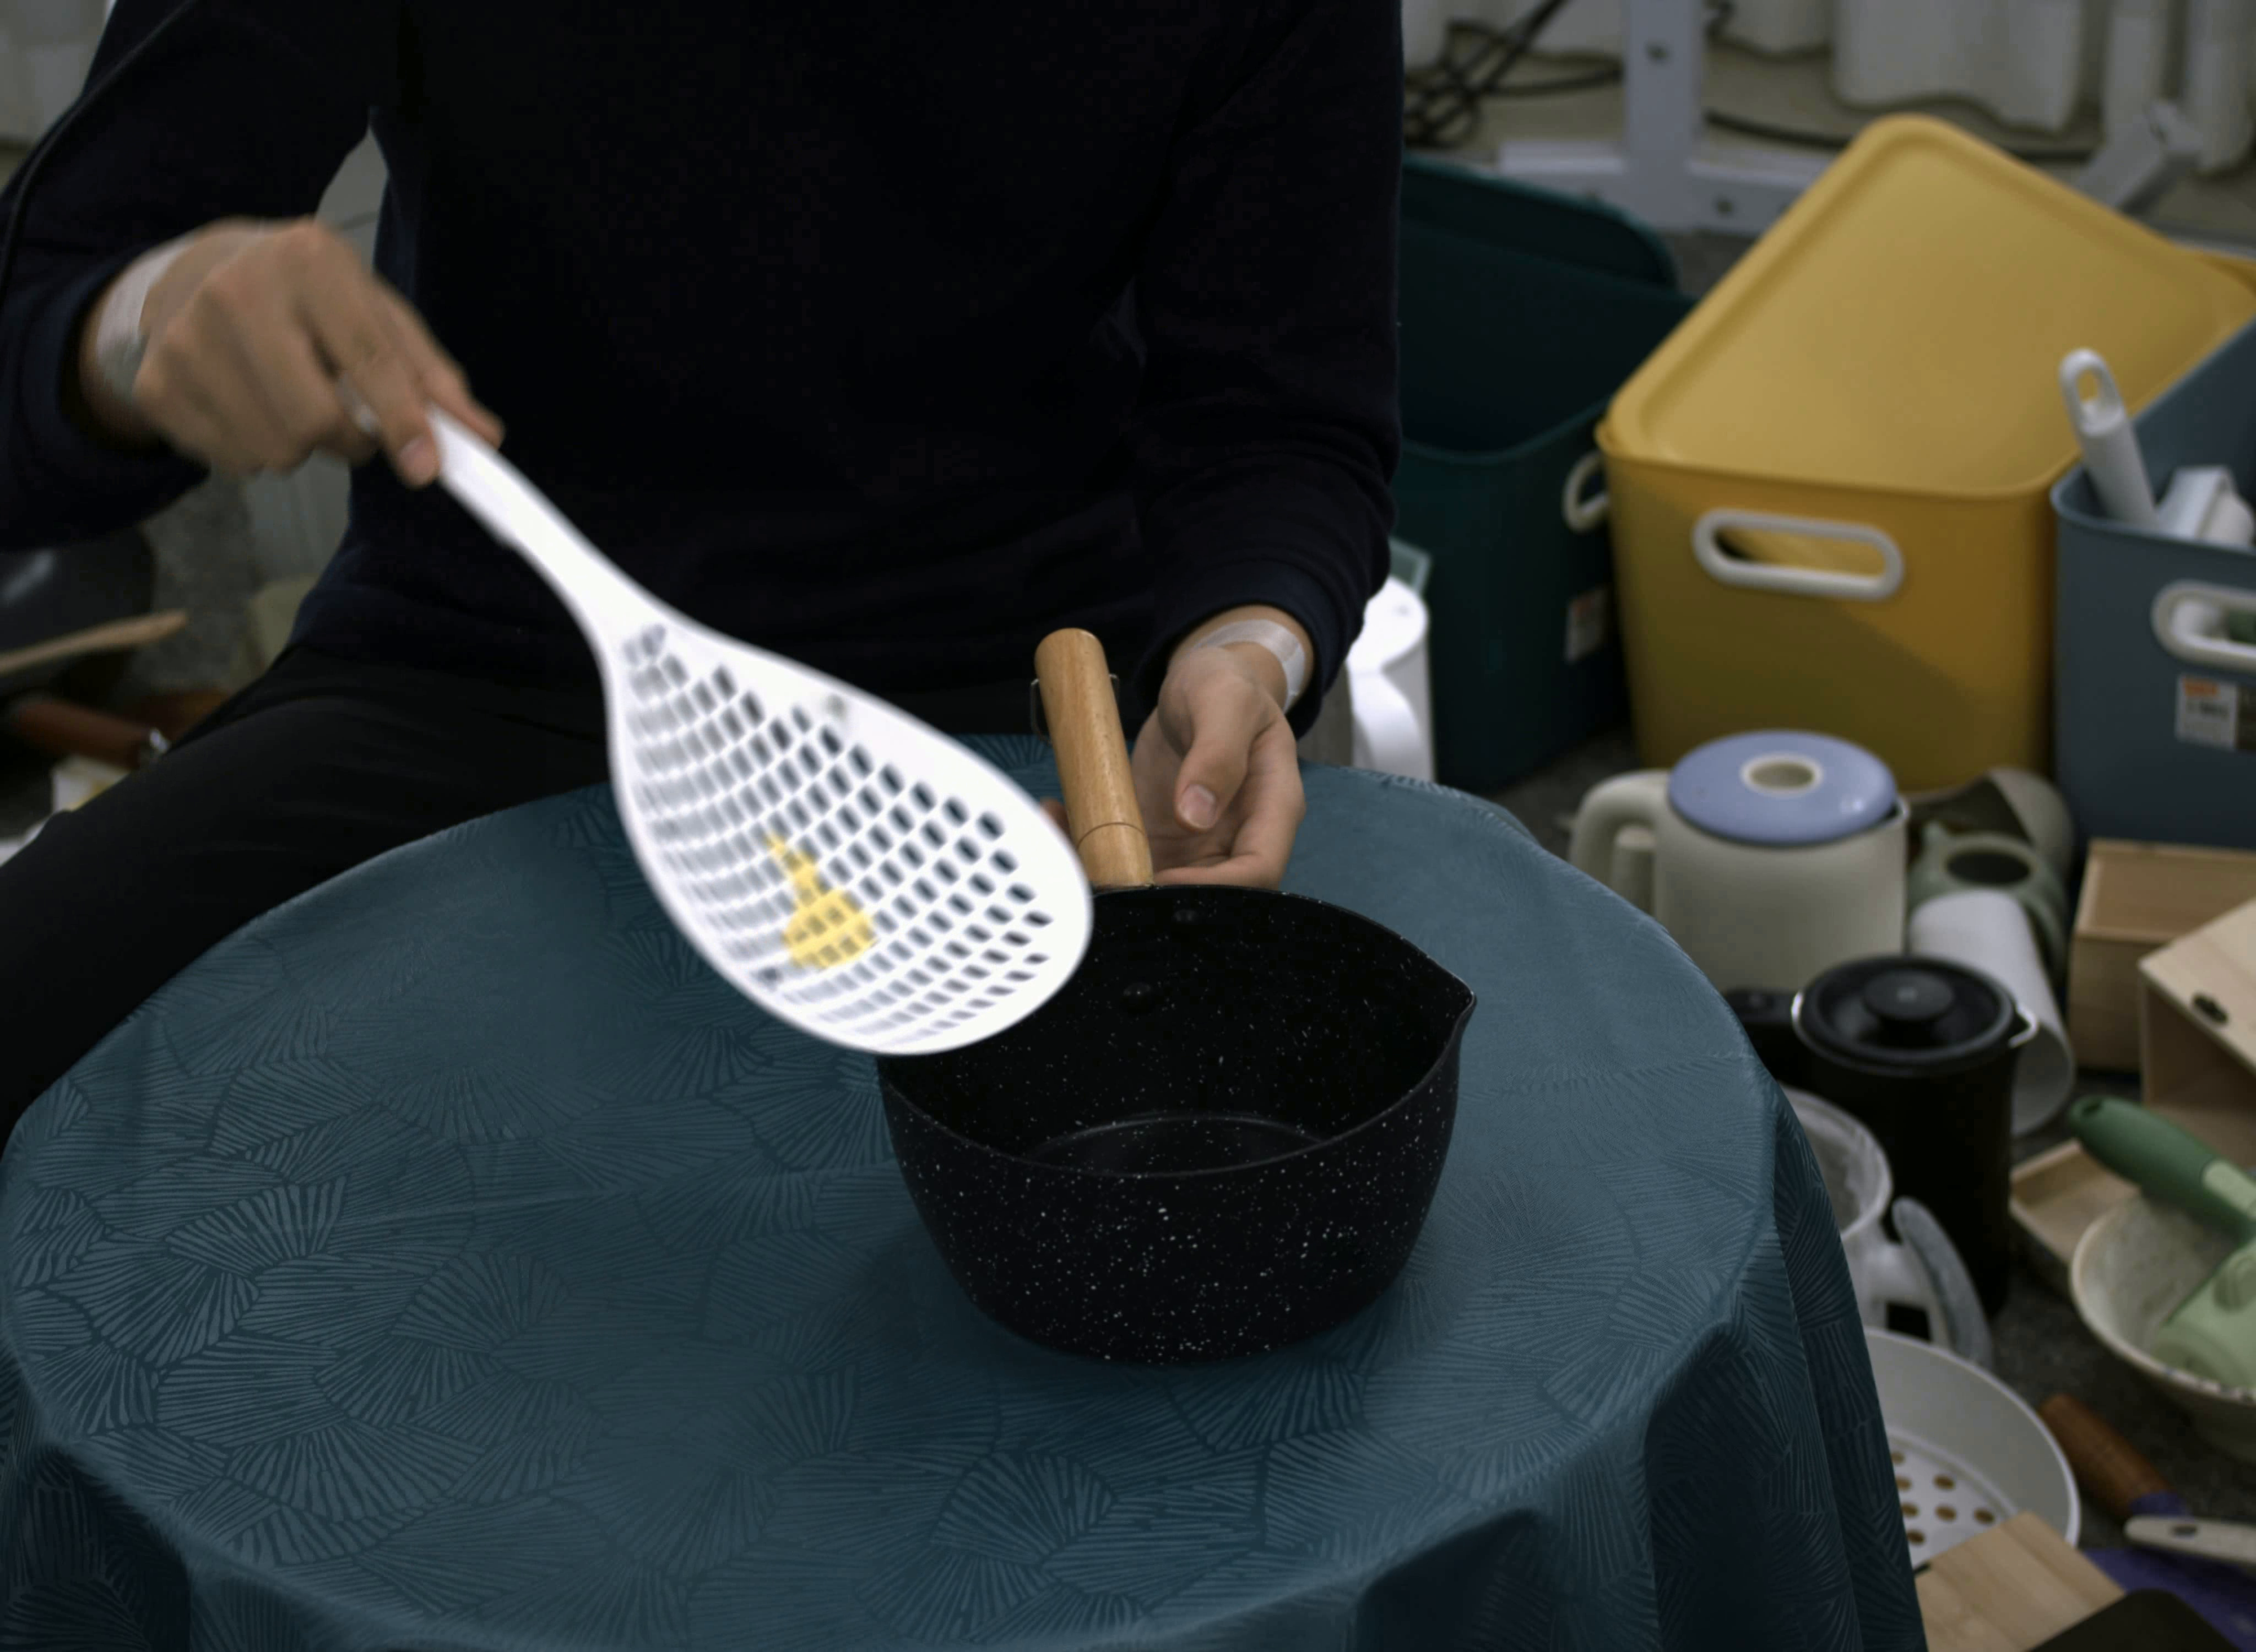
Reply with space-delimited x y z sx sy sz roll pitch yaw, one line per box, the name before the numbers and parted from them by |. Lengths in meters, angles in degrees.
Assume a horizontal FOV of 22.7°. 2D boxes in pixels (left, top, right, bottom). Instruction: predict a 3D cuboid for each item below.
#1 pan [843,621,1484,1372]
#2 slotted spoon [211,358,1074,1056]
pan | 0.002 0.053 1.878 0.207 0.107 0.347 -7 29 -6
slotted spoon | -0.162 -0.047 1.744 0.138 0.049 0.349 -28 66 -41
